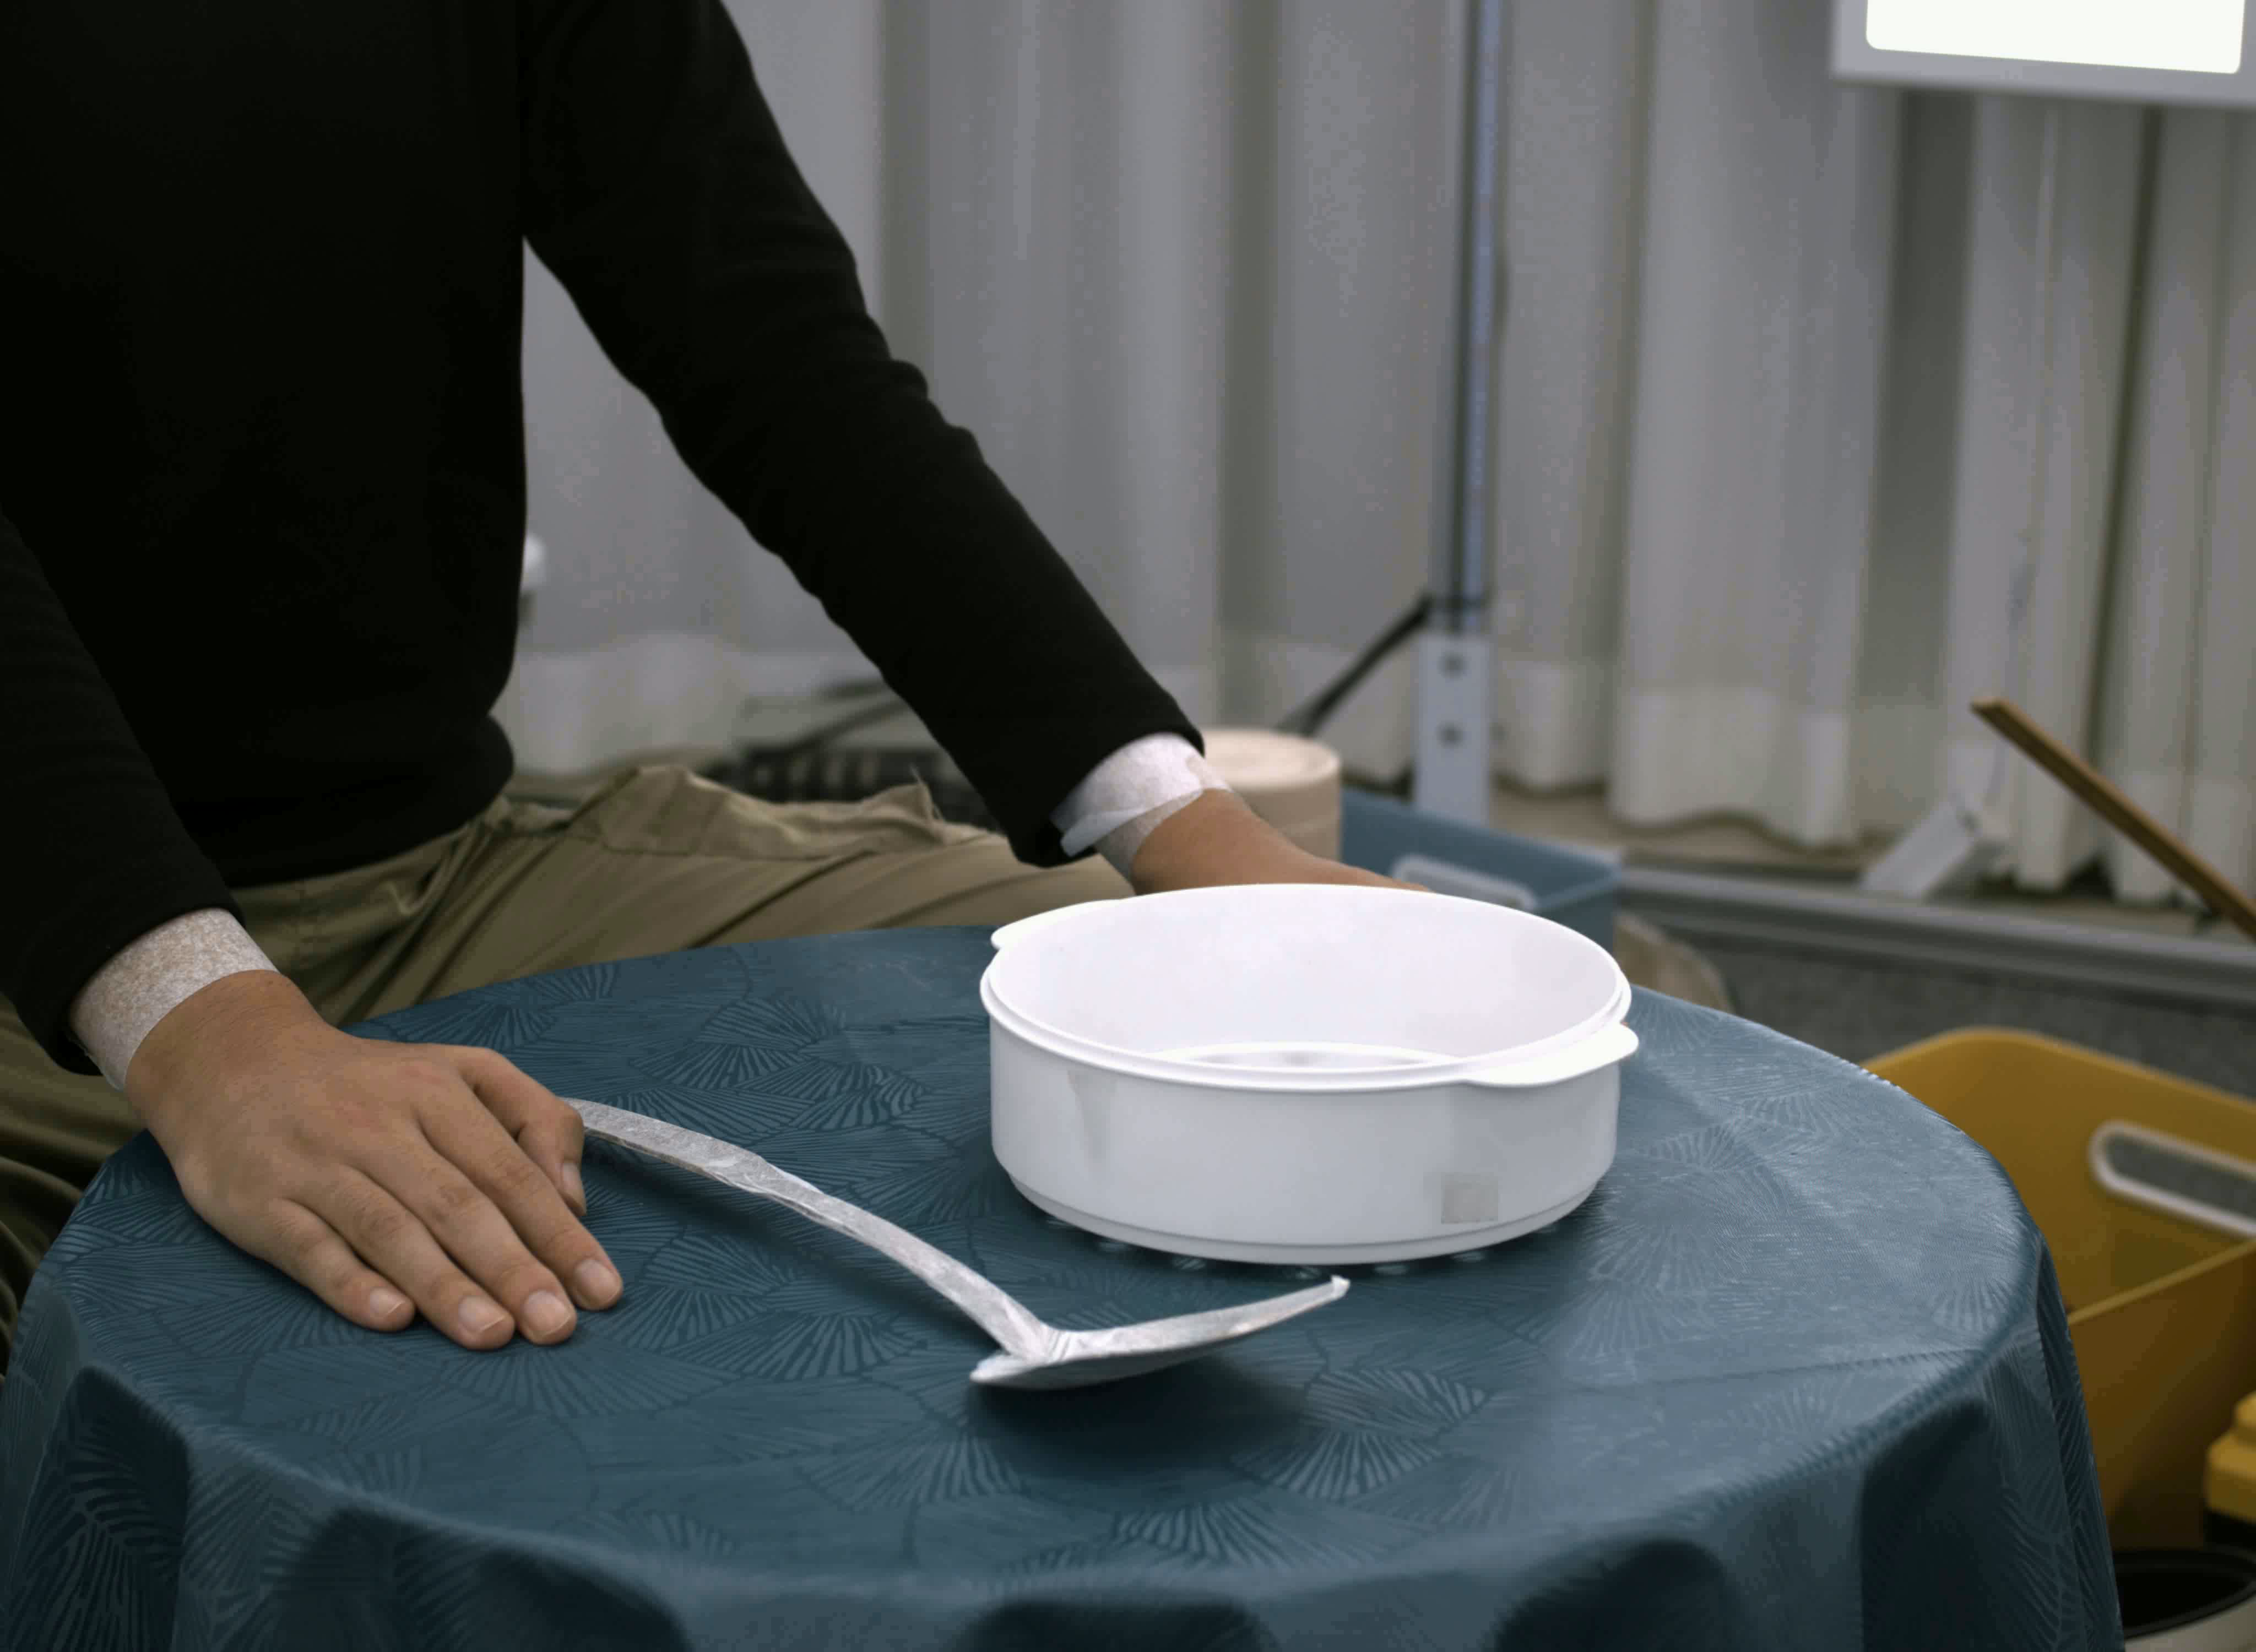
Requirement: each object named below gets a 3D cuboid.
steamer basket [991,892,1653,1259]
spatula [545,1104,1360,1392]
[{"bbox_3d":[0.058,0.076,1.622,0.227,0.070,0.203,13,19,42],"label":"steamer basket"},{"bbox_3d":[-0.076,0.113,1.544,0.099,0.045,0.360,-14,21,-37],"label":"spatula"}]
